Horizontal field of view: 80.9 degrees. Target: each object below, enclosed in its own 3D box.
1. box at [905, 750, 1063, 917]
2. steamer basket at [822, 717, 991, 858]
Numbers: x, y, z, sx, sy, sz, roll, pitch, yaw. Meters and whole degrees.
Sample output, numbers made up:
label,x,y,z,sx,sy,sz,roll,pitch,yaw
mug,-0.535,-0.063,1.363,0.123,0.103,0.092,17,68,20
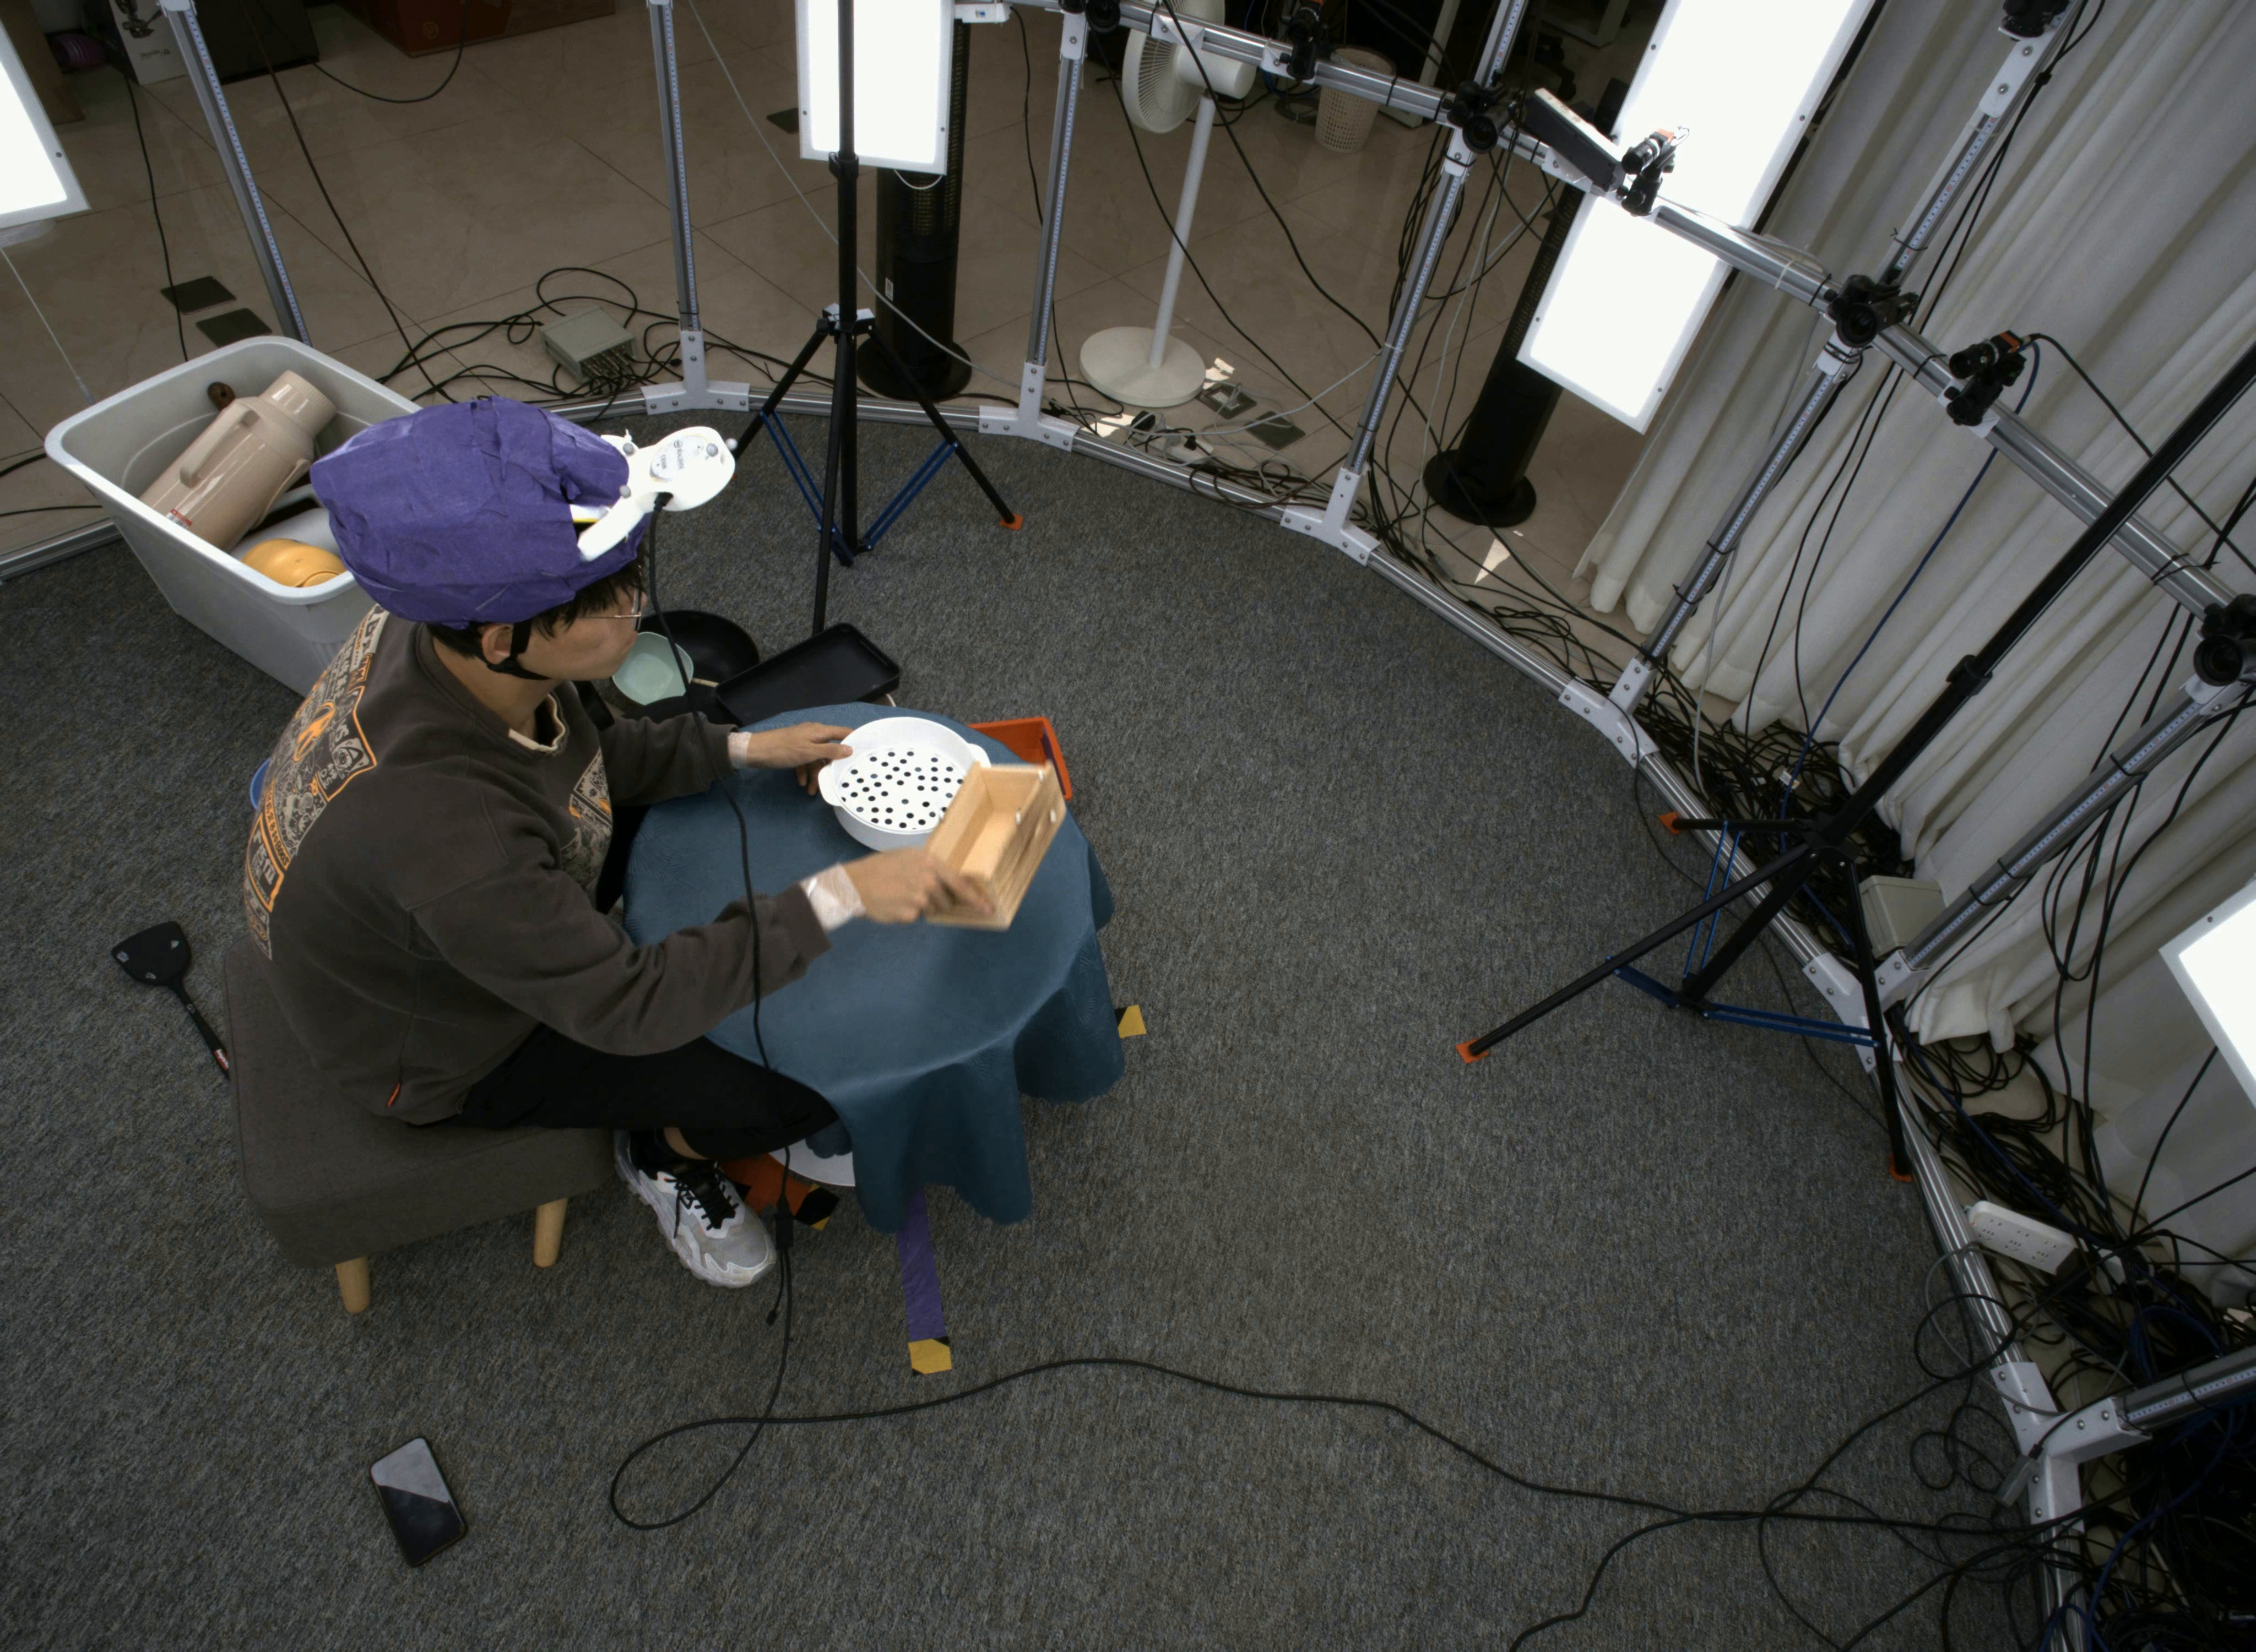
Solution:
label,x,y,z,sx,sy,sz,roll,pitch,yaw
box,-0.168,0.006,1.562,0.104,0.083,0.209,0,41,20
steamer basket,-0.296,-0.052,1.766,0.231,0.071,0.197,-11,57,-18
